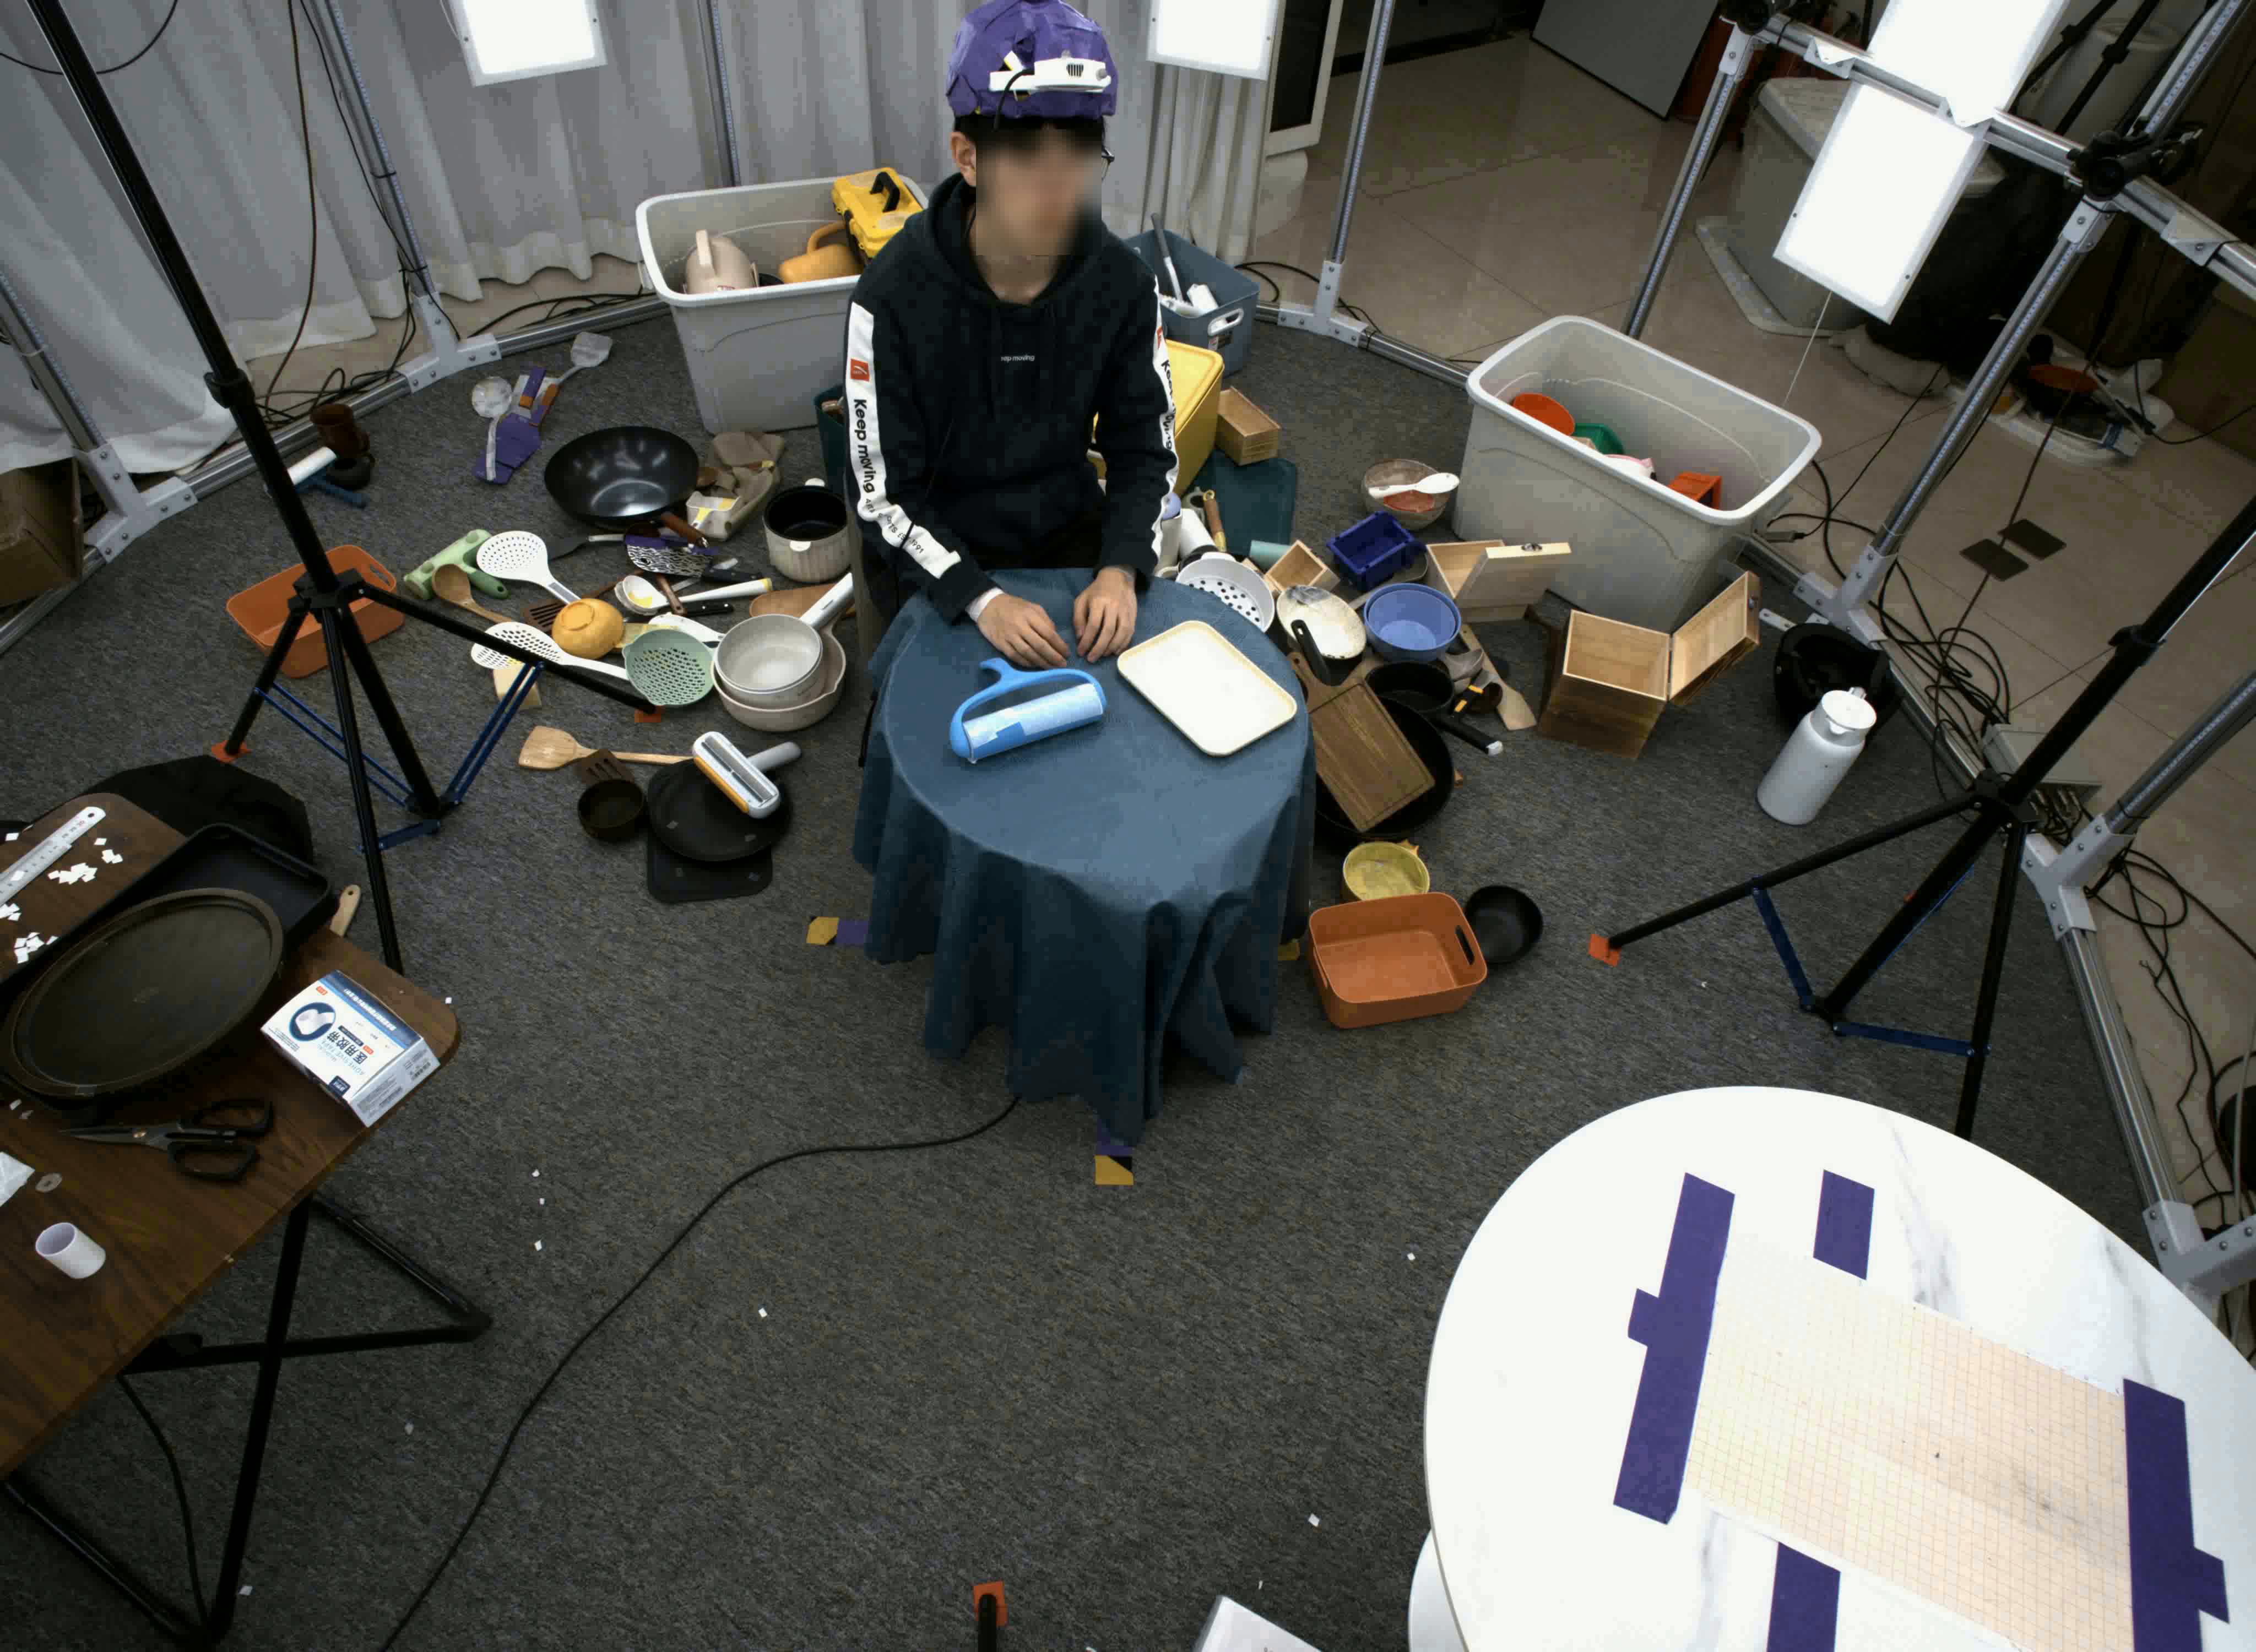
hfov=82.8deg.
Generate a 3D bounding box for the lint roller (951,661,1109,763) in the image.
[{"bbox_3d":[-0.160,-0.183,1.780,0.229,0.066,0.184,-23,55,-20],"label":"lint roller"}]

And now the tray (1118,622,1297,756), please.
[{"bbox_3d":[0.112,-0.197,1.834,0.172,0.017,0.244,-28,56,-26],"label":"tray"}]
